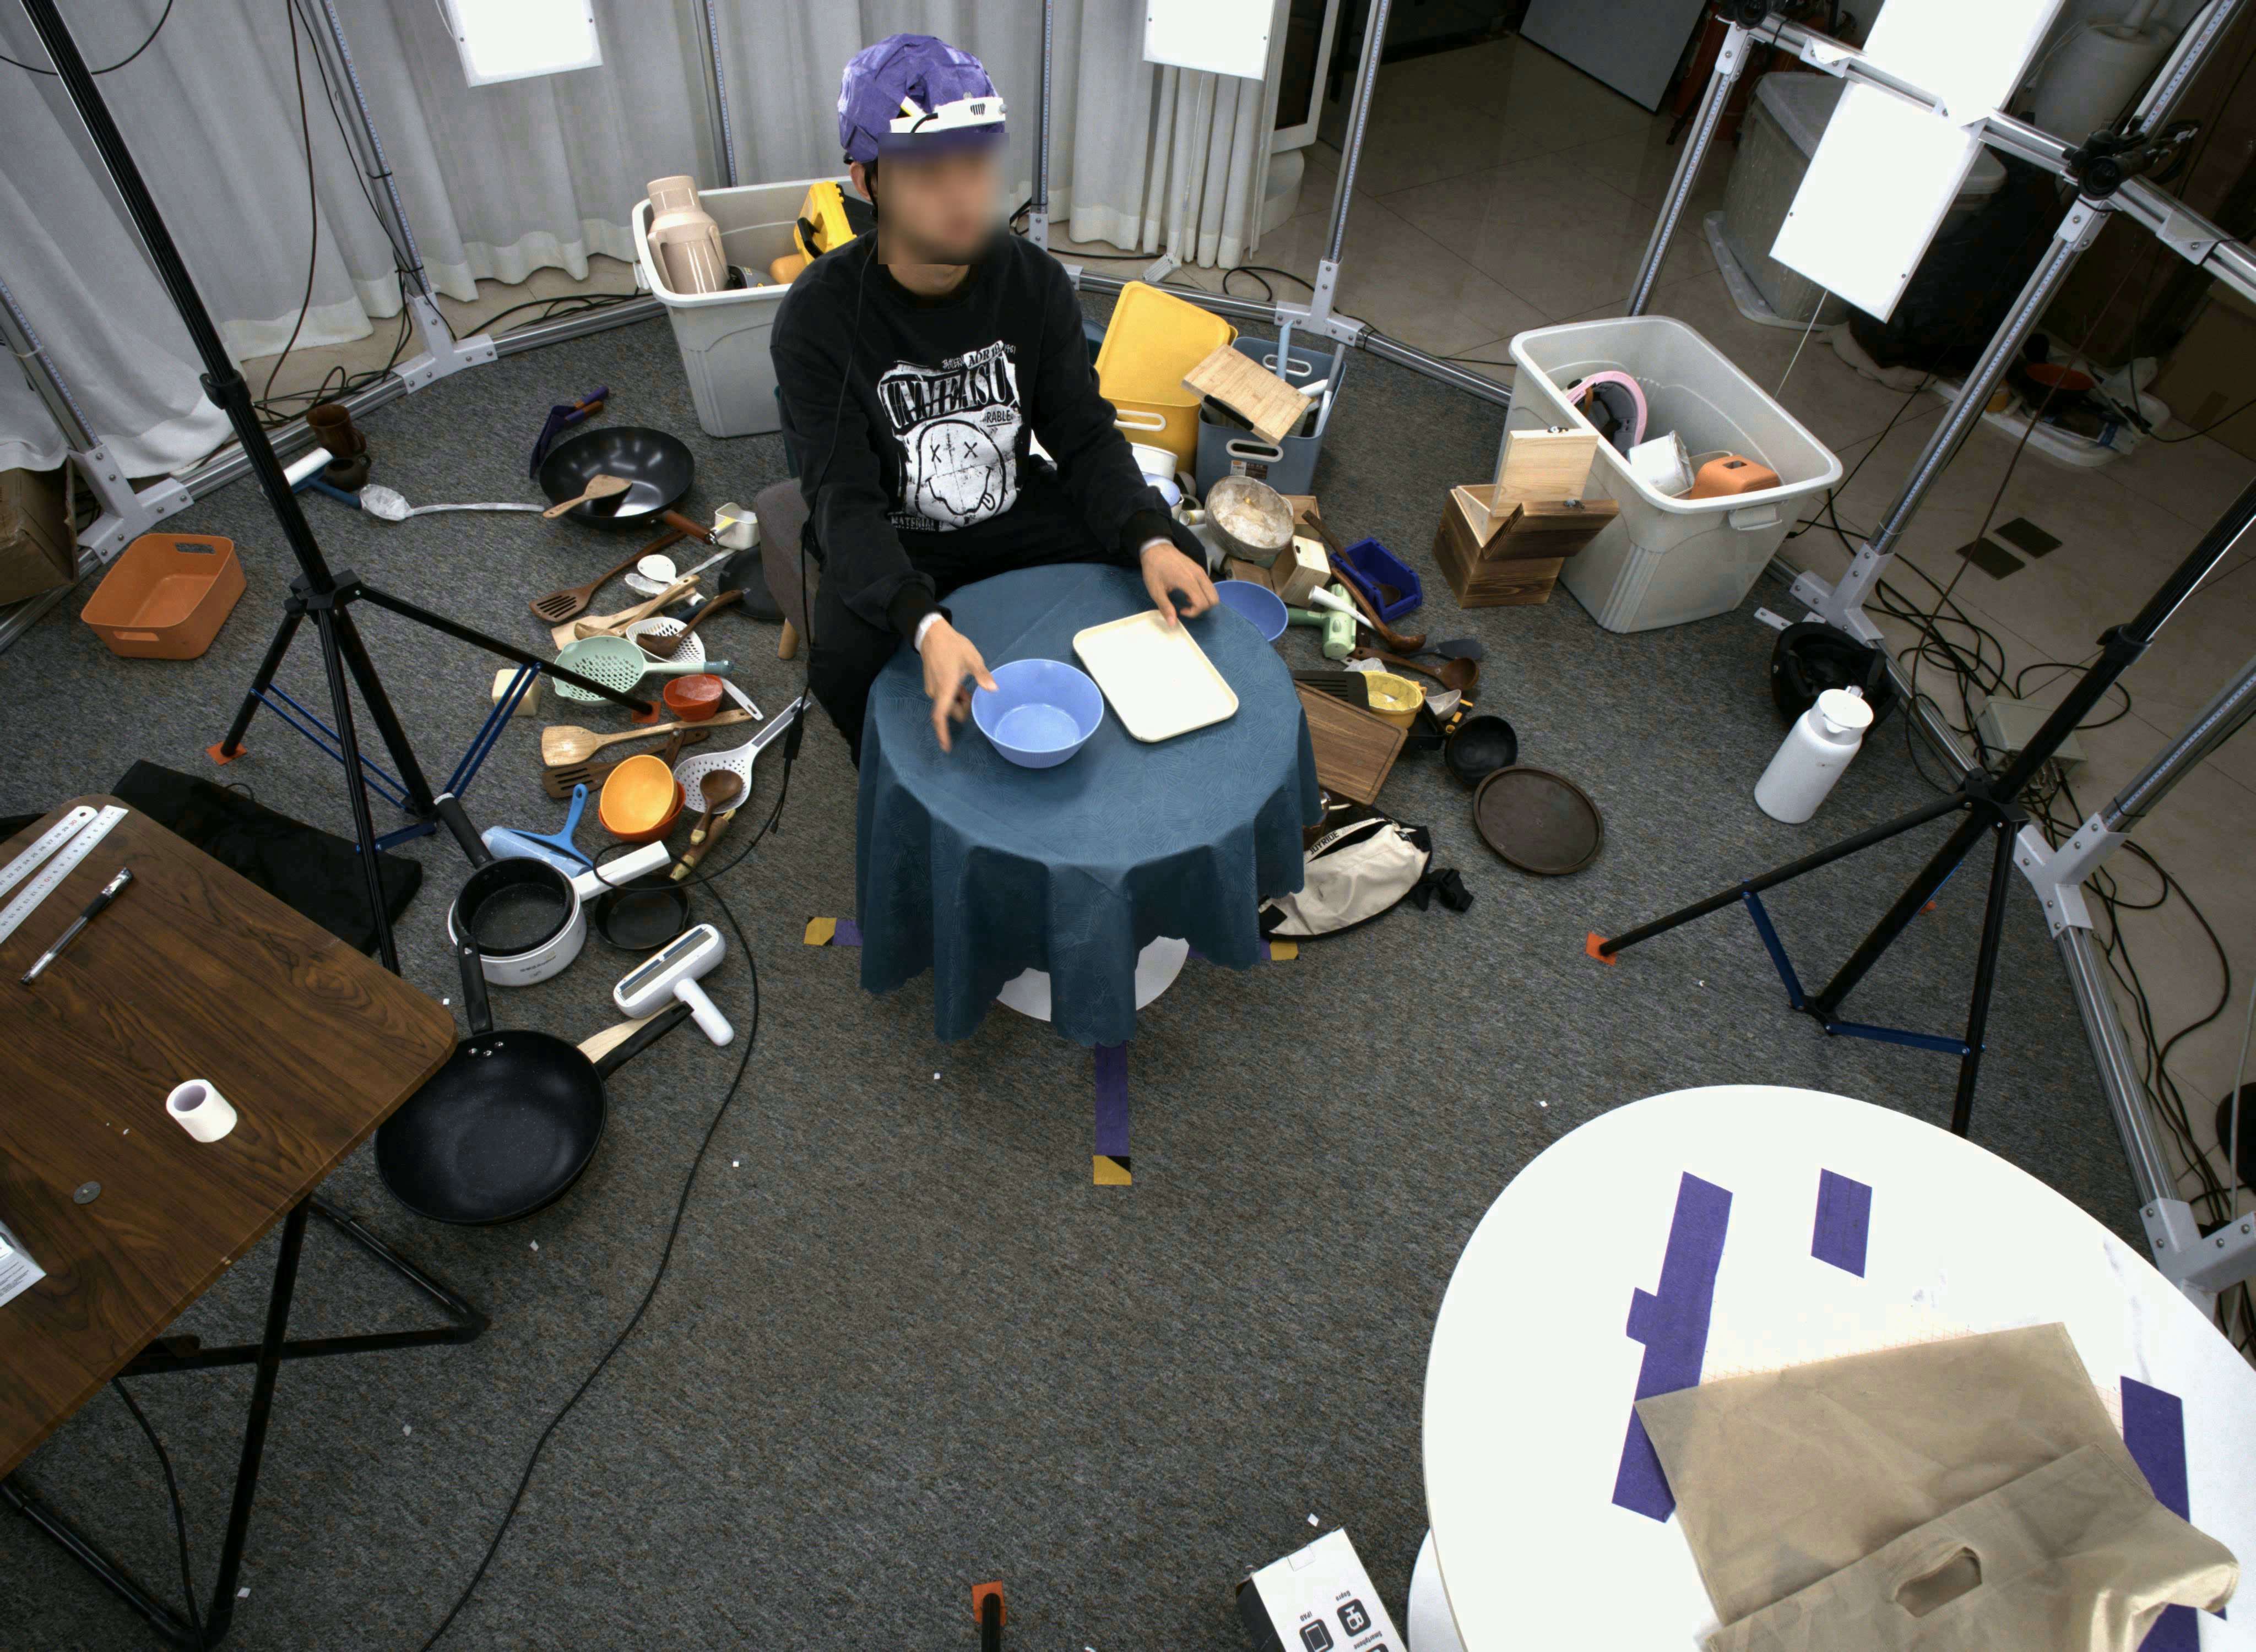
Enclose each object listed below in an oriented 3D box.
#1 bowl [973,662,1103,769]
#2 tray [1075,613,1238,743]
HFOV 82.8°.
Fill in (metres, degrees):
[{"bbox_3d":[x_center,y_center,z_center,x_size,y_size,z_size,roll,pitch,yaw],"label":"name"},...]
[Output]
[{"bbox_3d":[-0.123,-0.141,1.753,0.176,0.068,0.180,2,48,-3],"label":"bowl"},{"bbox_3d":[0.039,-0.217,1.864,0.171,0.017,0.245,-18,52,-19],"label":"tray"}]
